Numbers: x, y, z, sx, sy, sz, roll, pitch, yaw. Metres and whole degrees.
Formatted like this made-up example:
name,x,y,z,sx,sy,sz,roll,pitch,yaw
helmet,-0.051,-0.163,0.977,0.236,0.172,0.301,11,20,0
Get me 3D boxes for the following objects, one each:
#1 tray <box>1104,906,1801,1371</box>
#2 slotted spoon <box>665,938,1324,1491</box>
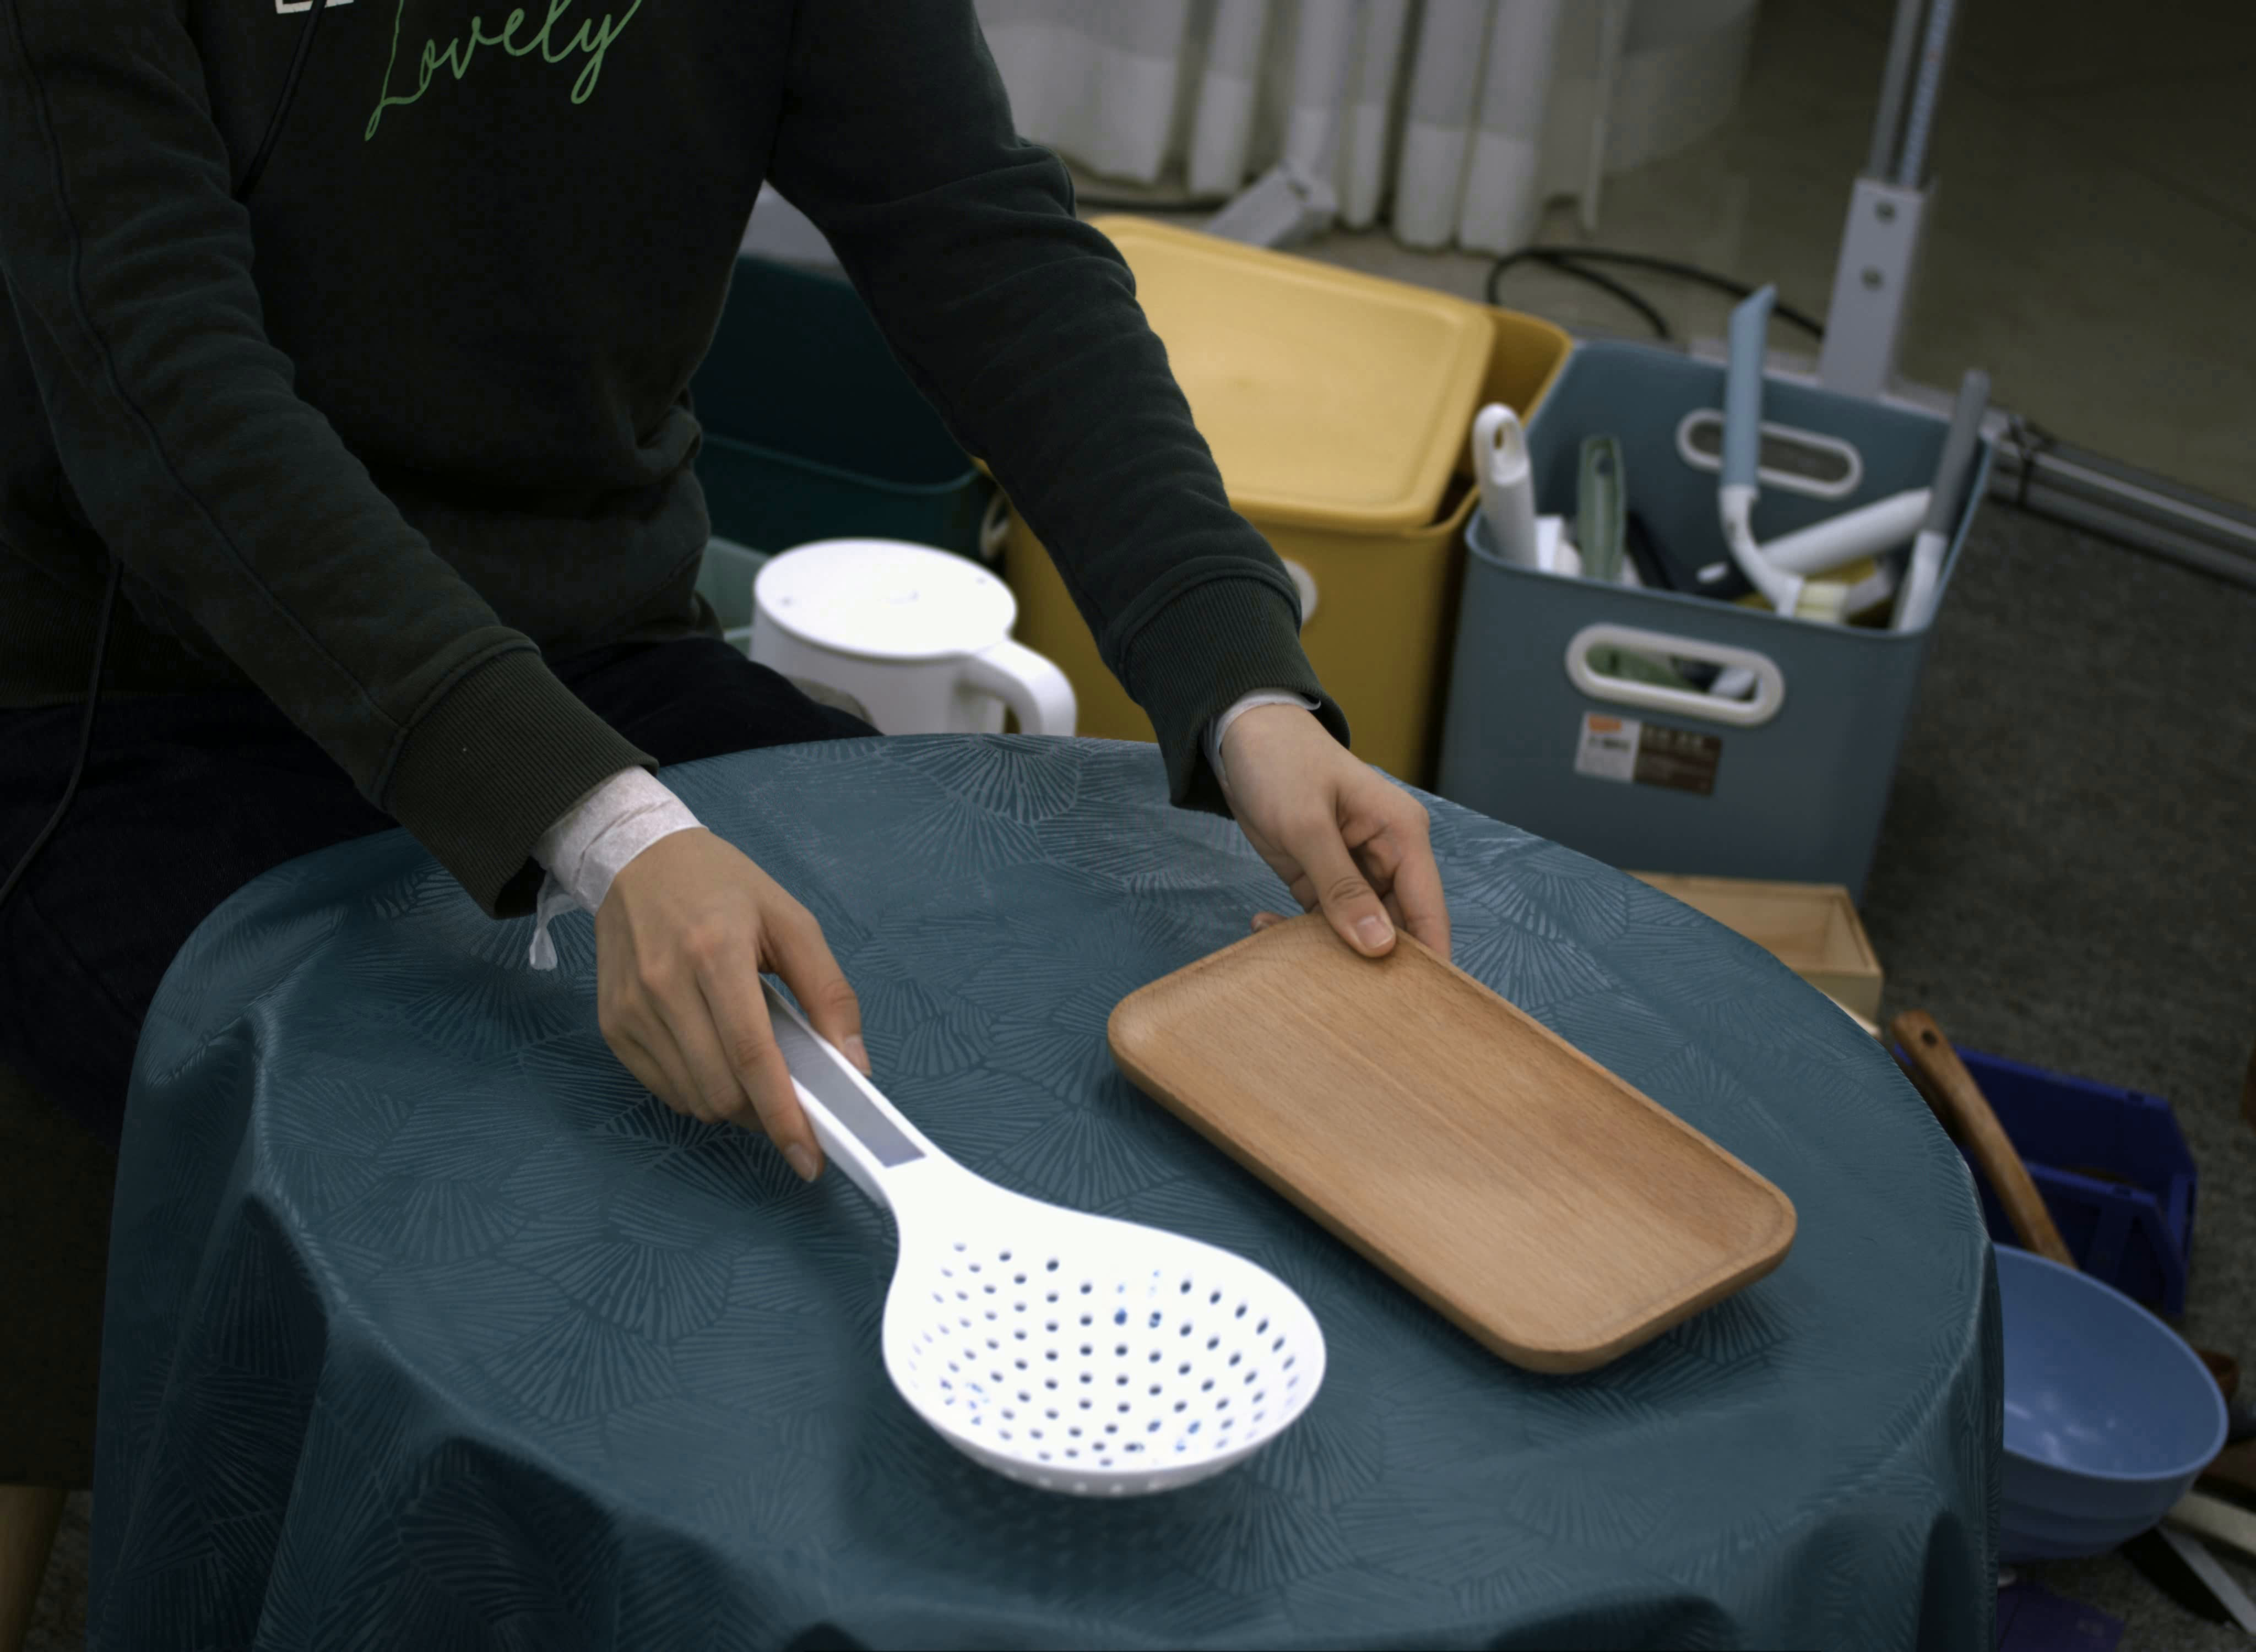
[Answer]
name,x,y,z,sx,sy,sz,roll,pitch,yaw
tray,0.107,0.104,1.814,0.130,0.023,0.253,-22,38,-32
slotted spoon,-0.063,0.119,1.713,0.135,0.045,0.353,-13,35,-28
